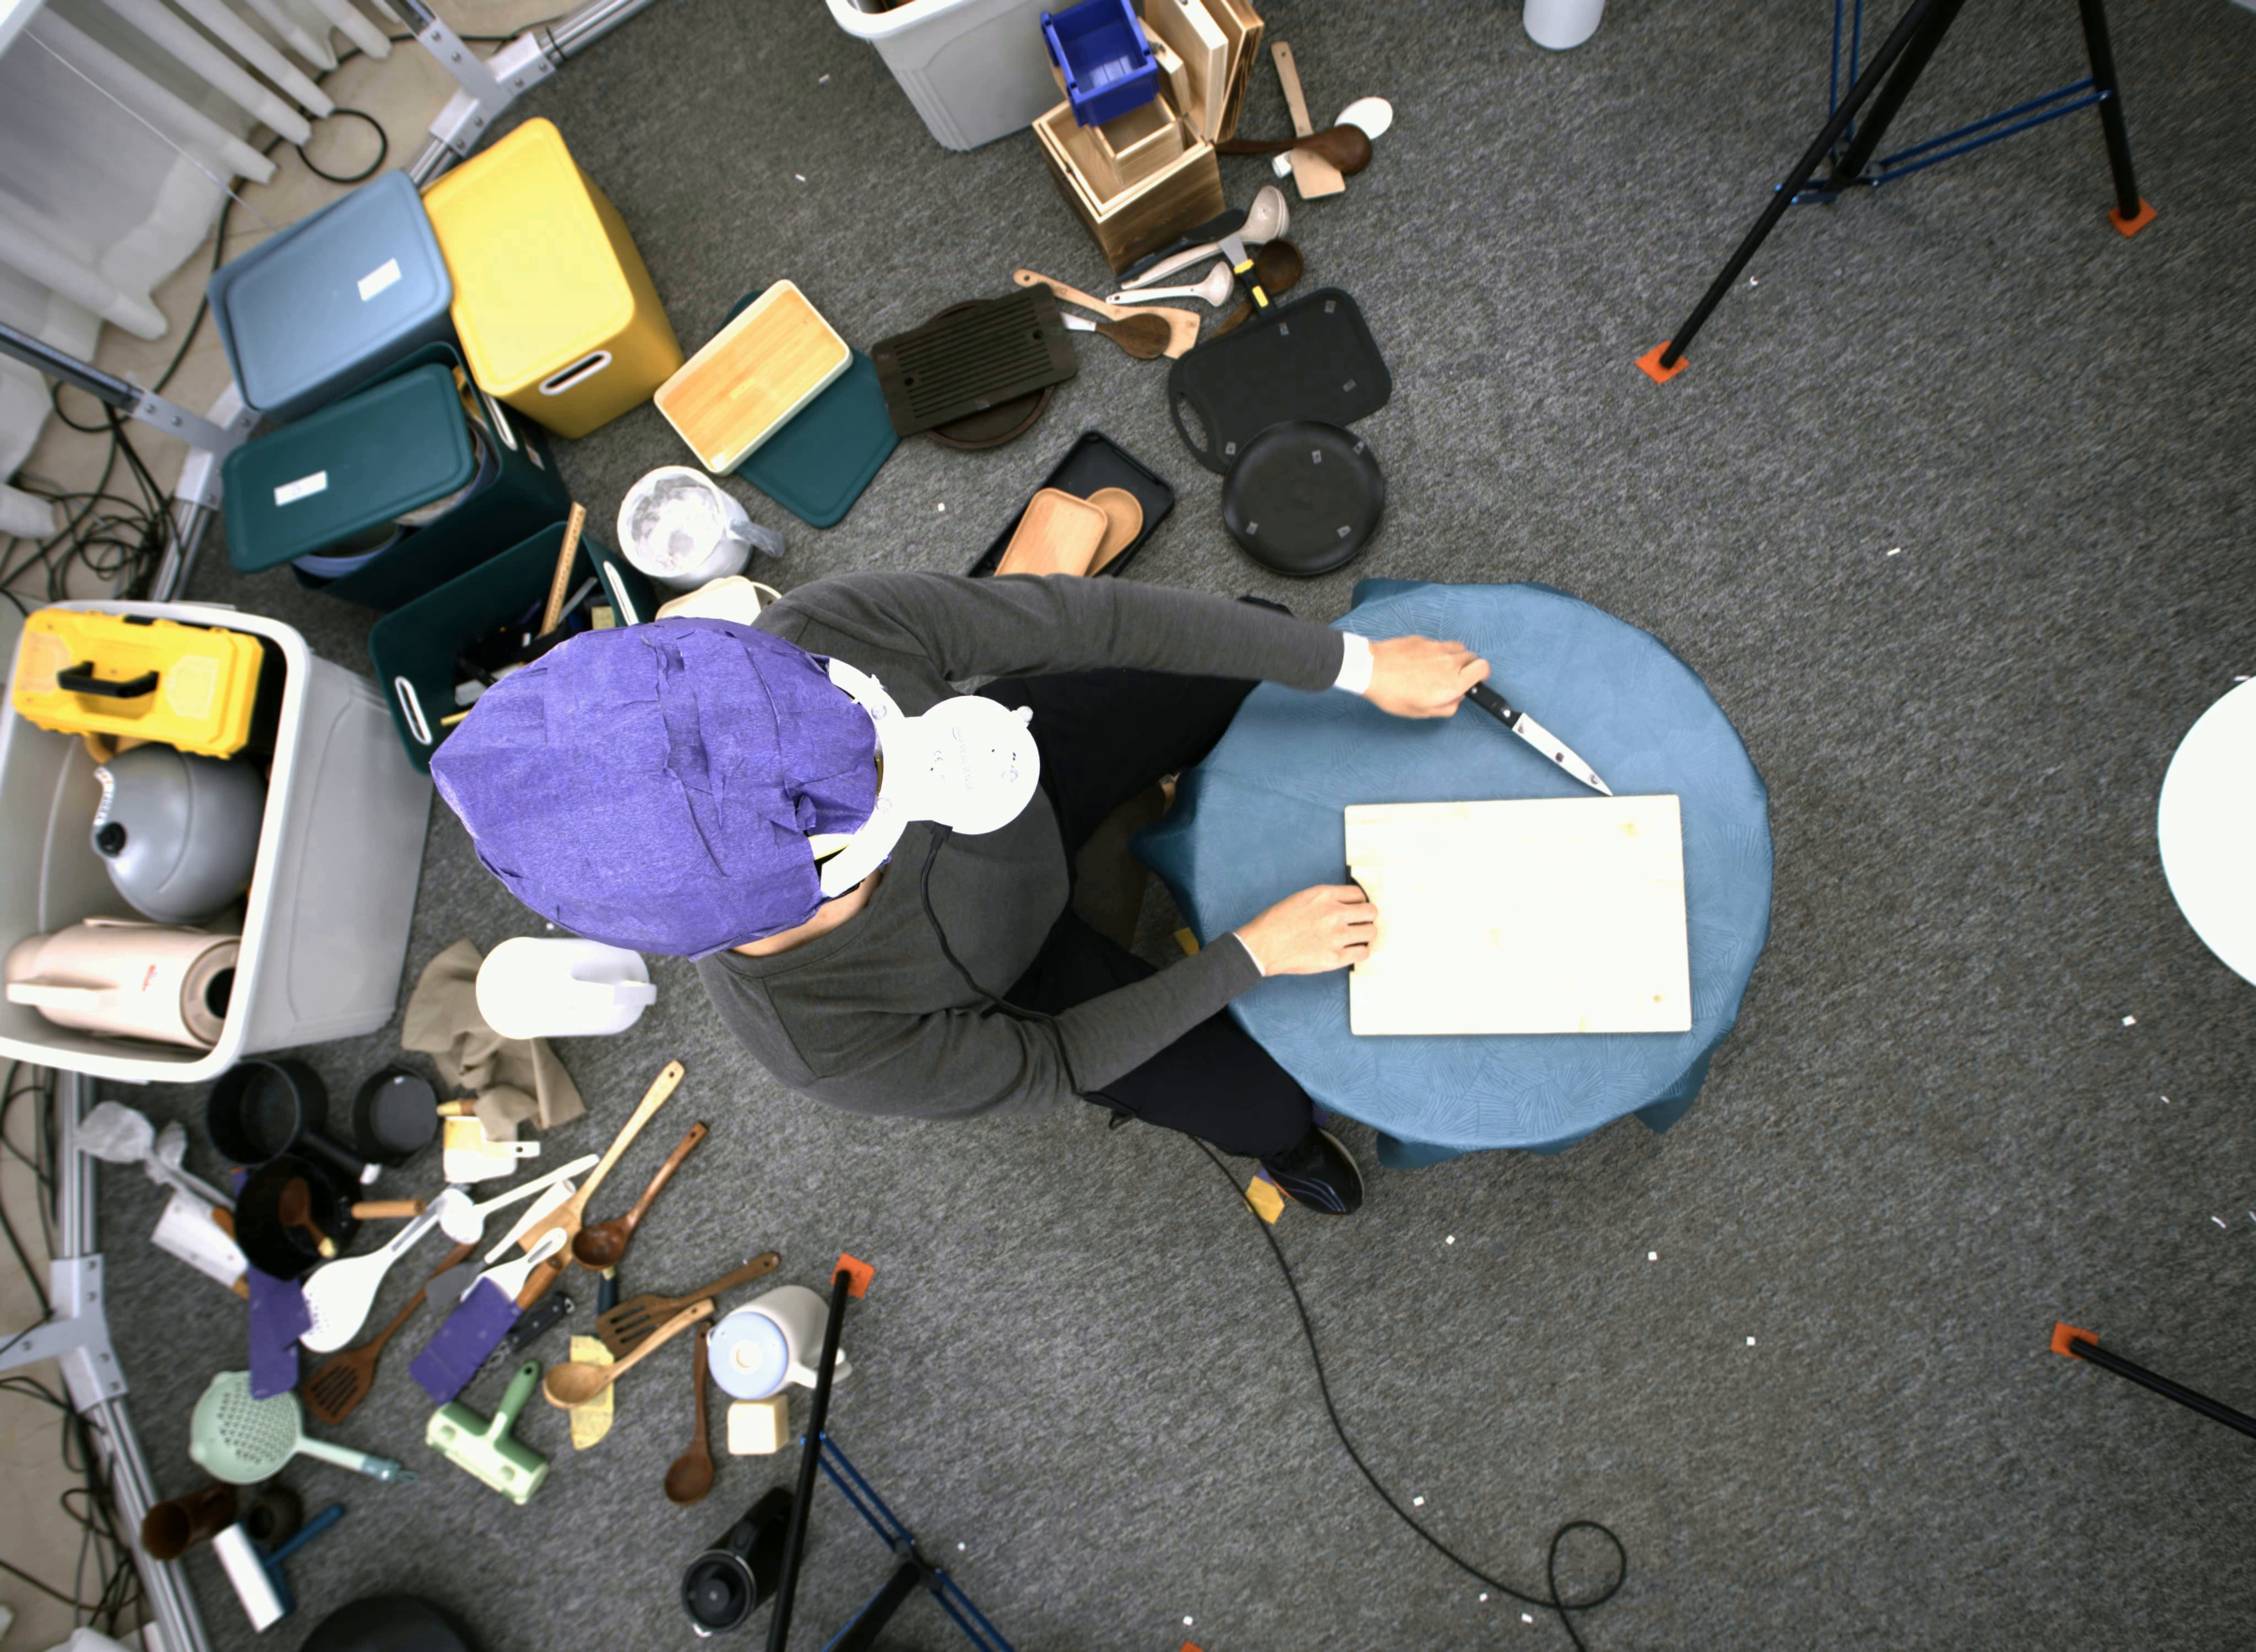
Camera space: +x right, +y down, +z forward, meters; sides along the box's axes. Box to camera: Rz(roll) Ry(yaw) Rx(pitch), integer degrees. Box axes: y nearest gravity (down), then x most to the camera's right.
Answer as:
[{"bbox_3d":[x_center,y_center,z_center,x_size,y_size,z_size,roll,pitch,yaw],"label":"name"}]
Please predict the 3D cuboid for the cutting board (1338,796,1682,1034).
[{"bbox_3d":[0.395,0.089,1.427,0.350,0.023,0.249,-2,86,10],"label":"cutting board"}]

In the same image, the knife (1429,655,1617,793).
[{"bbox_3d":[0.408,-0.104,1.418,0.238,0.016,0.024,35,87,0],"label":"knife"}]
